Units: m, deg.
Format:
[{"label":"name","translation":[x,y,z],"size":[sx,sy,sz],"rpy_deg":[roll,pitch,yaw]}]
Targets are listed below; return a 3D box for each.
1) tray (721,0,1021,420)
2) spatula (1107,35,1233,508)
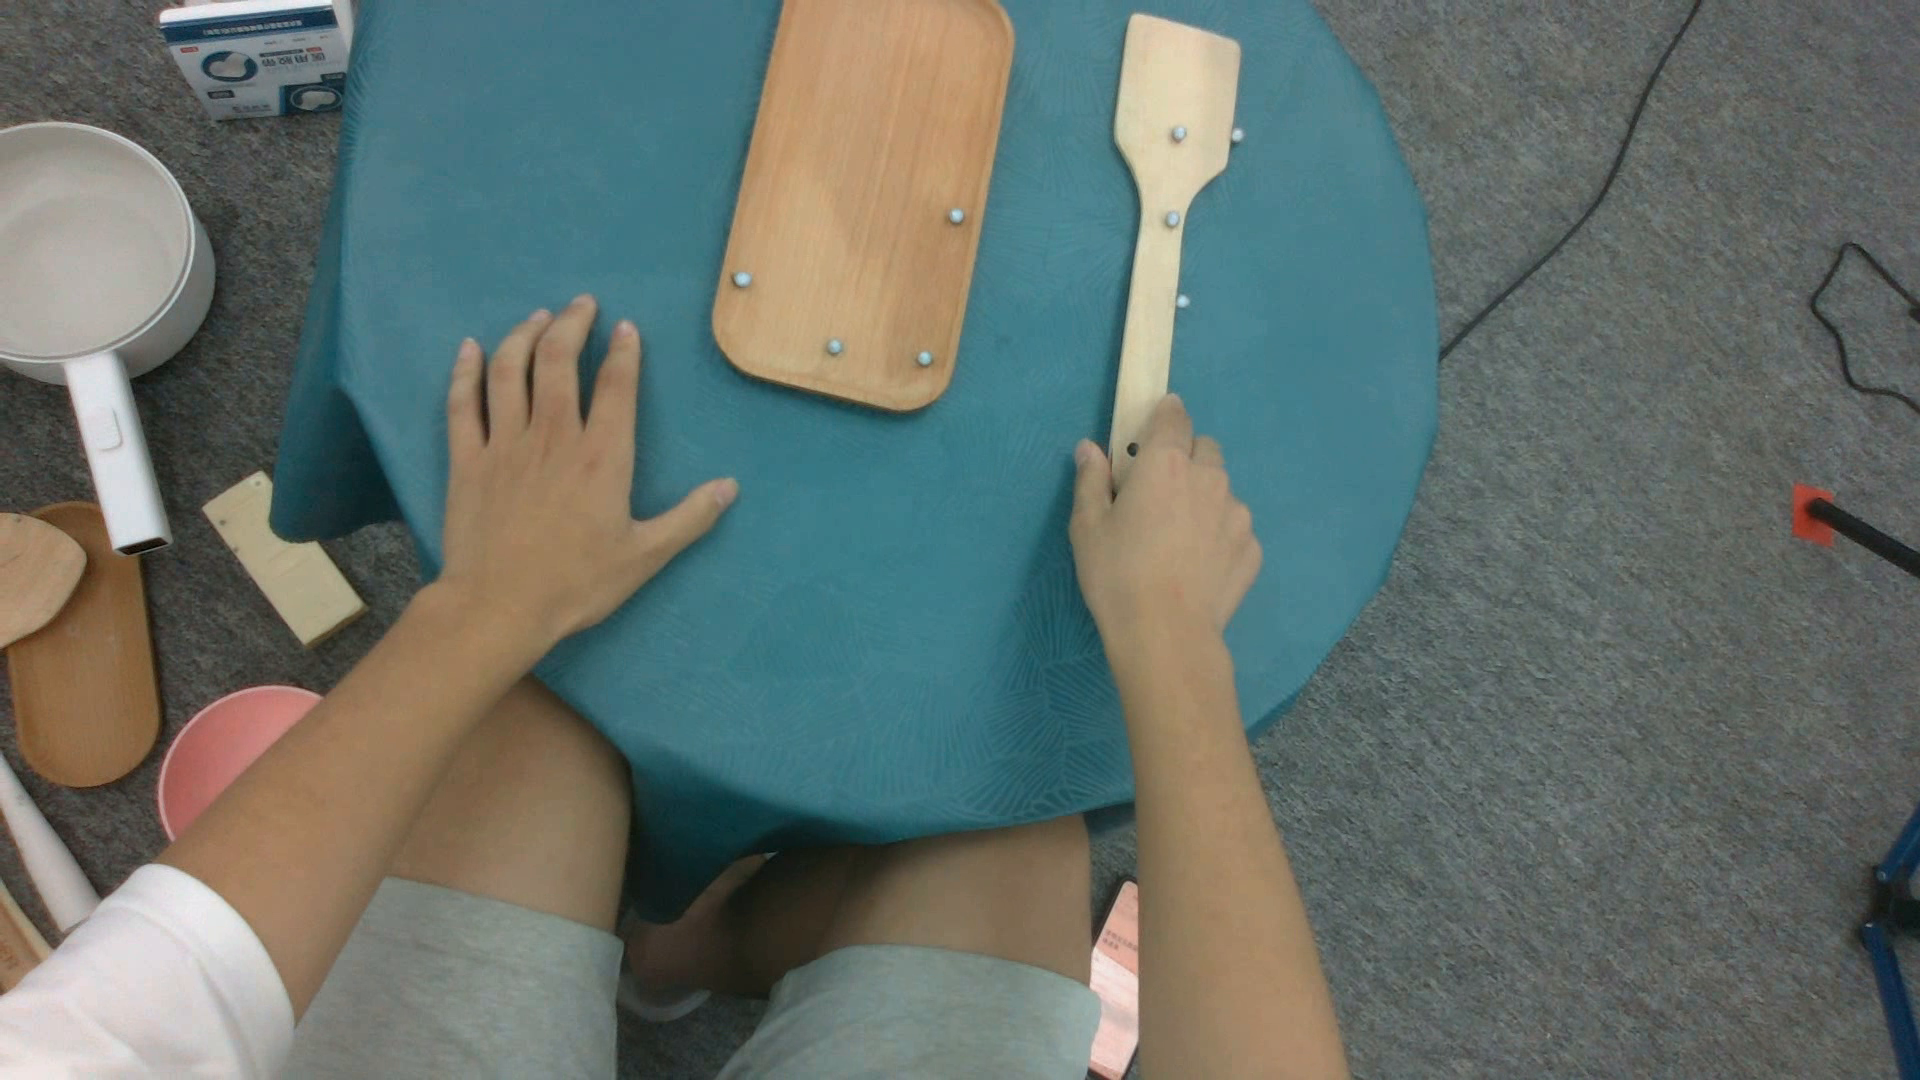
[{"label":"tray","translation":[-0.046,-0.191,0.755],"size":[0.130,0.023,0.251],"rpy_deg":[15,75,-12]},{"label":"spatula","translation":[0.112,-0.156,0.781],"size":[0.072,0.010,0.294],"rpy_deg":[11,72,-10]}]
